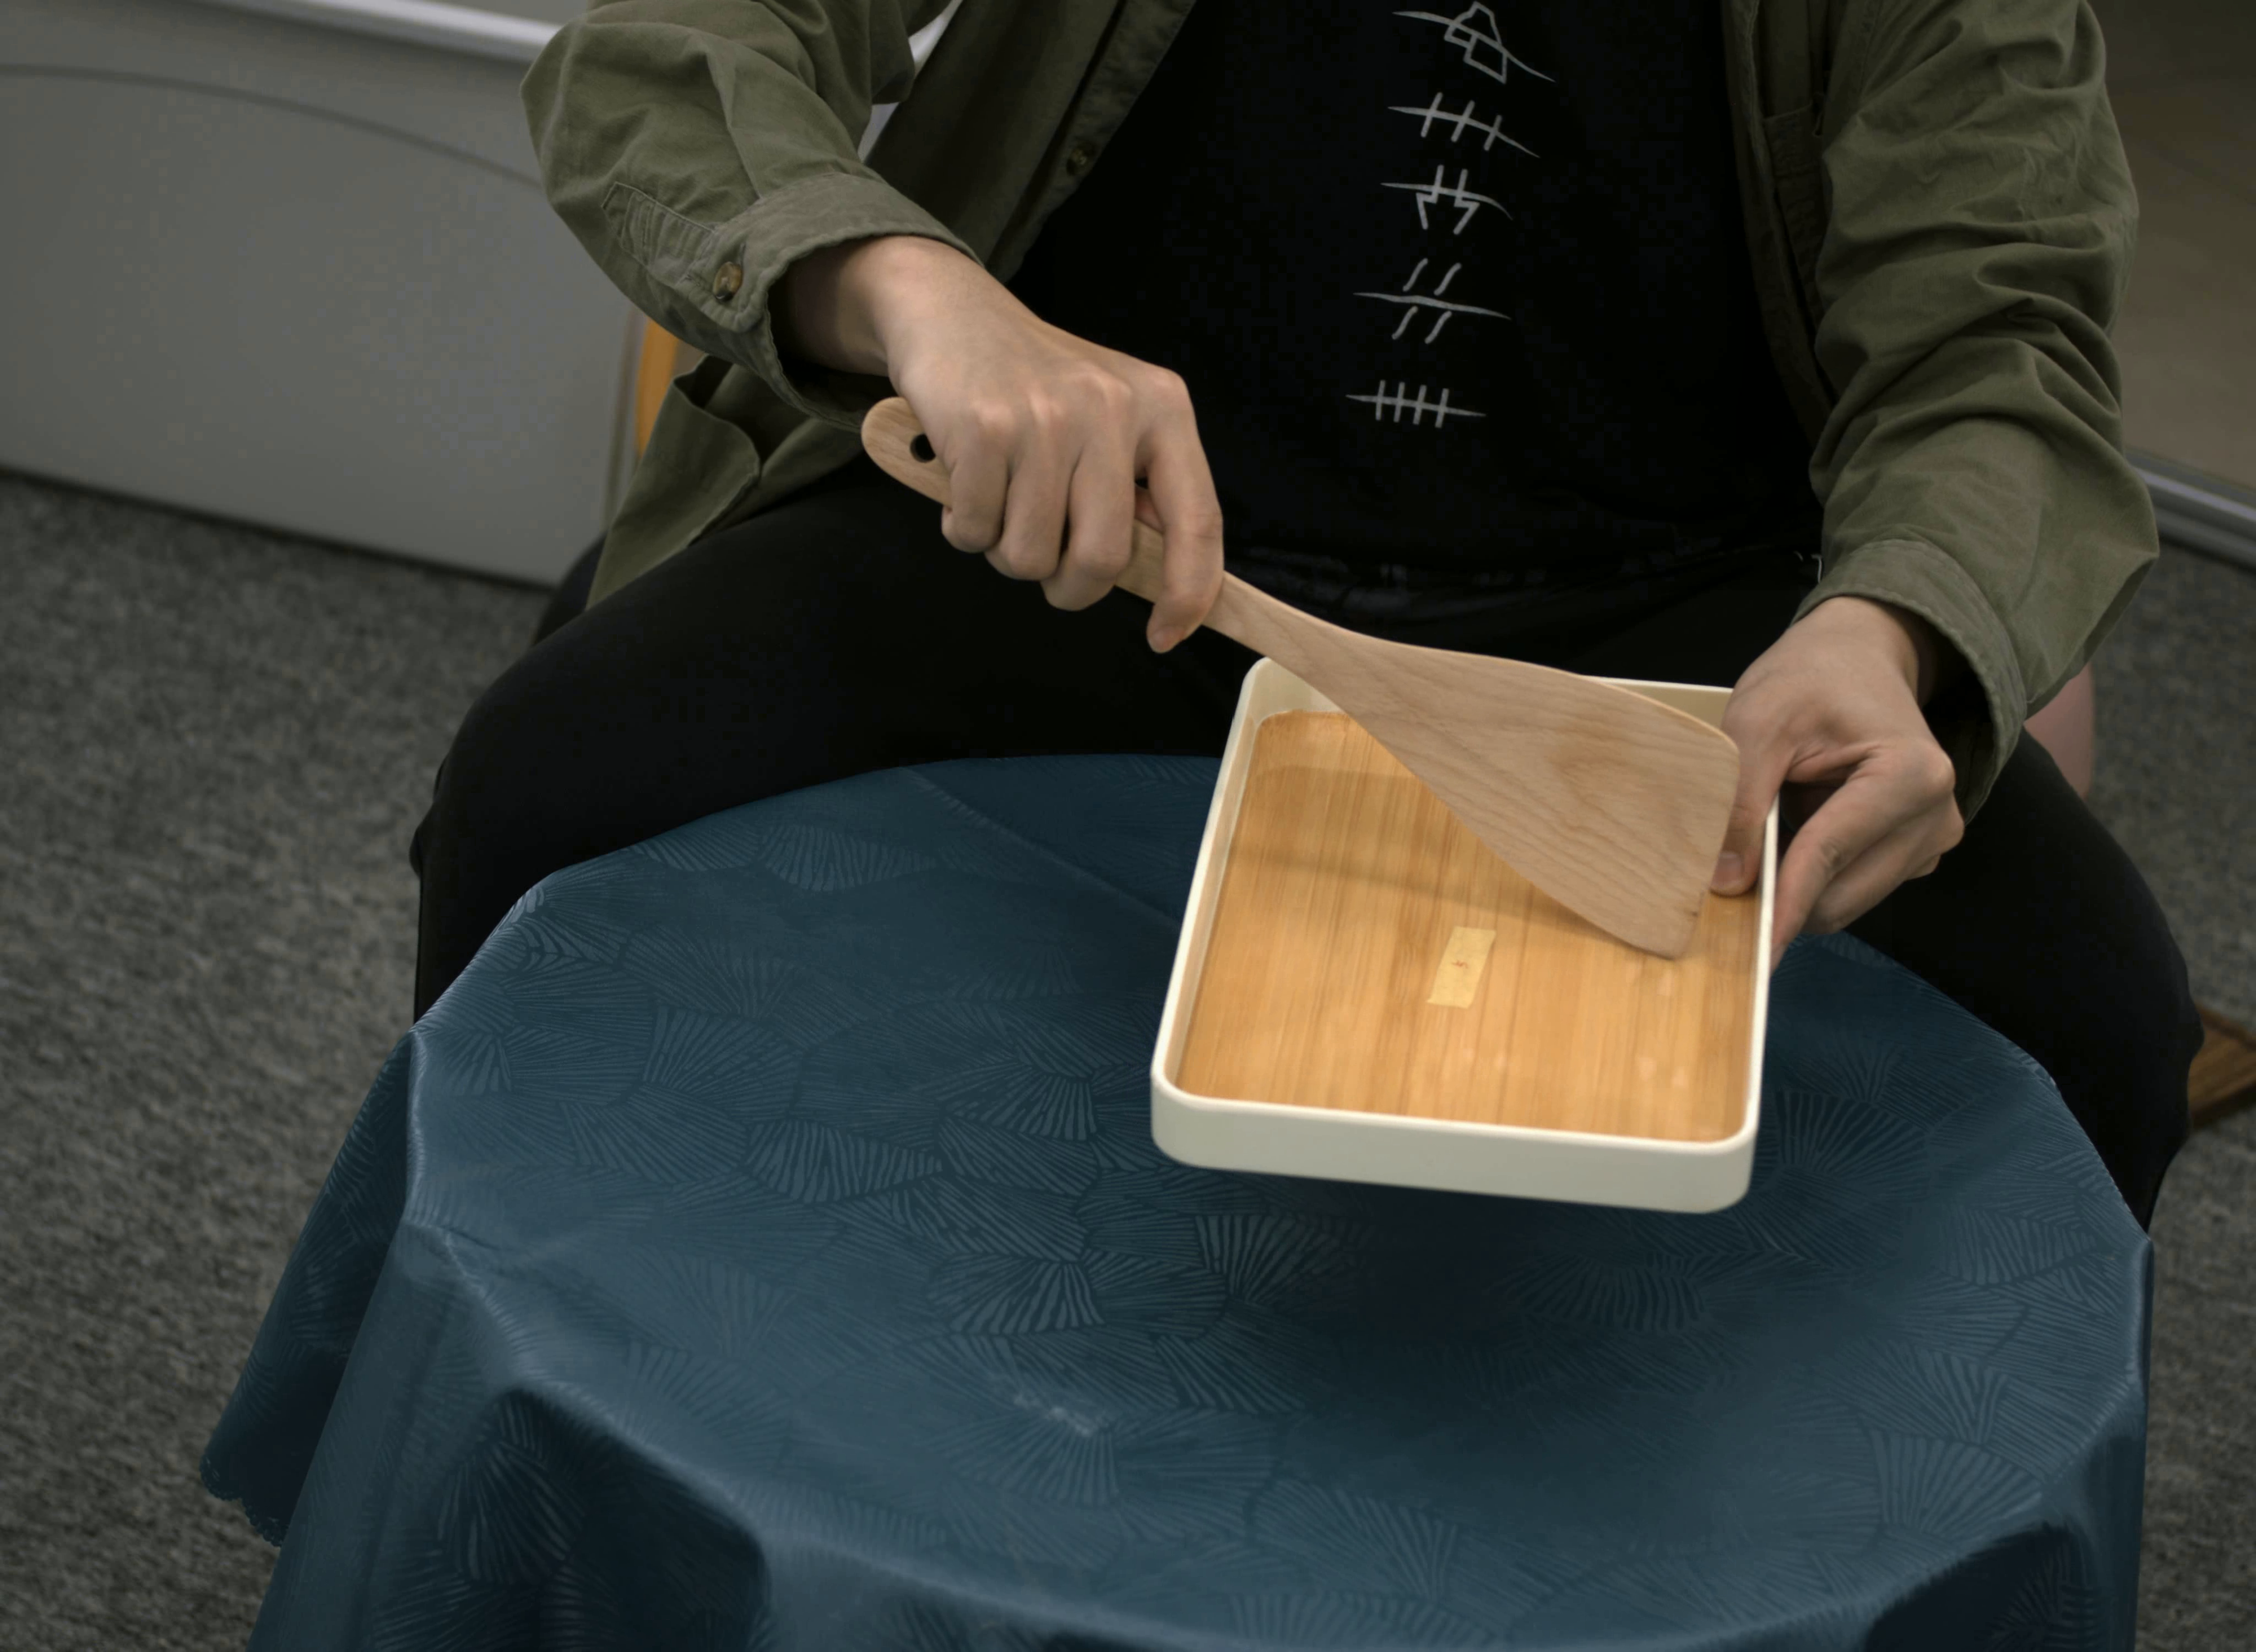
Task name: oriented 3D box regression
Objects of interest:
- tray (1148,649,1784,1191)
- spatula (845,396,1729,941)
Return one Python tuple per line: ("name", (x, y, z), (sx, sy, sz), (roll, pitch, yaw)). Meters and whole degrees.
("tray", (0.118, 0.025, 1.774), (0.191, 0.027, 0.301), (5, 29, 7))
("spatula", (0.051, -0.066, 1.776), (0.328, 0.080, 0.016), (27, 16, 7))
